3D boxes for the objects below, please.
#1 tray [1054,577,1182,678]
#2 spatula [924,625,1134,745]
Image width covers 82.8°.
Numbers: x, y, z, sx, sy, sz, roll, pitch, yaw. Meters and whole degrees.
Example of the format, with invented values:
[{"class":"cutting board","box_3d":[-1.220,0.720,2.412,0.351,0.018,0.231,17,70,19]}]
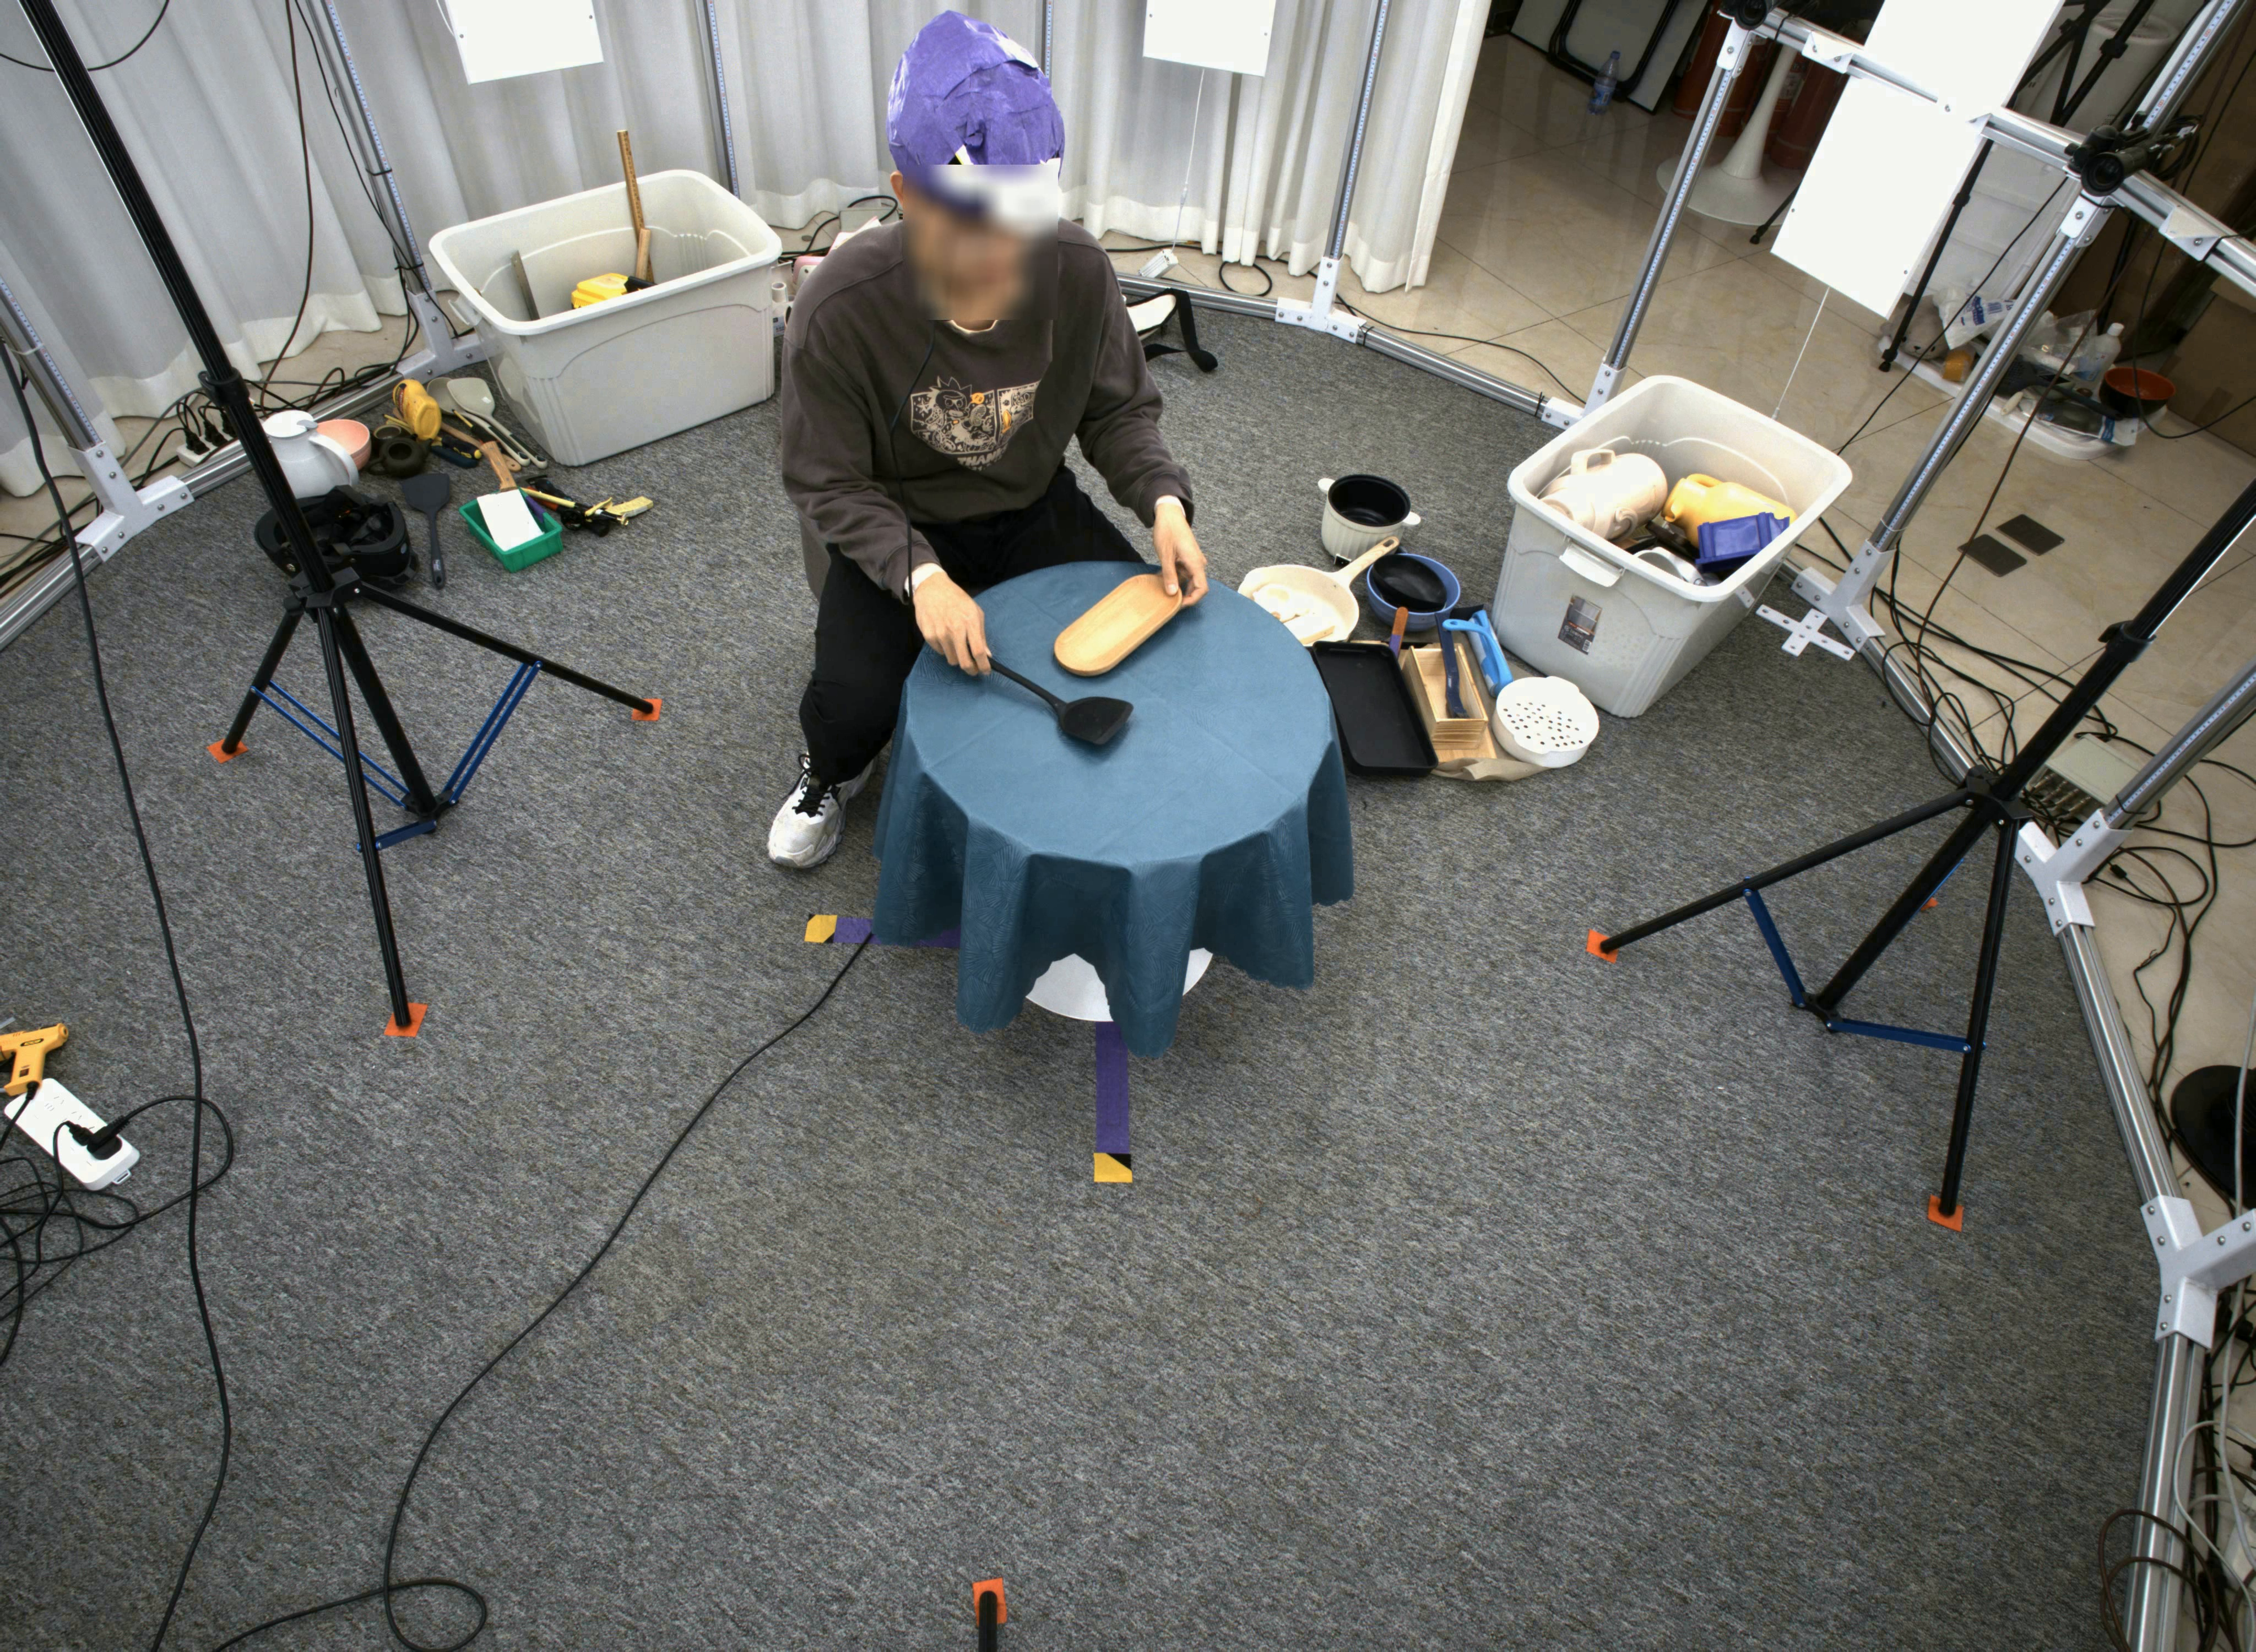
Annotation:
[{"class":"tray","box_3d":[-0.013,-0.295,1.898,0.103,0.020,0.233,32,61,27]},{"class":"spatula","box_3d":[-0.149,-0.208,1.798,0.328,0.039,0.101,31,50,11]}]
